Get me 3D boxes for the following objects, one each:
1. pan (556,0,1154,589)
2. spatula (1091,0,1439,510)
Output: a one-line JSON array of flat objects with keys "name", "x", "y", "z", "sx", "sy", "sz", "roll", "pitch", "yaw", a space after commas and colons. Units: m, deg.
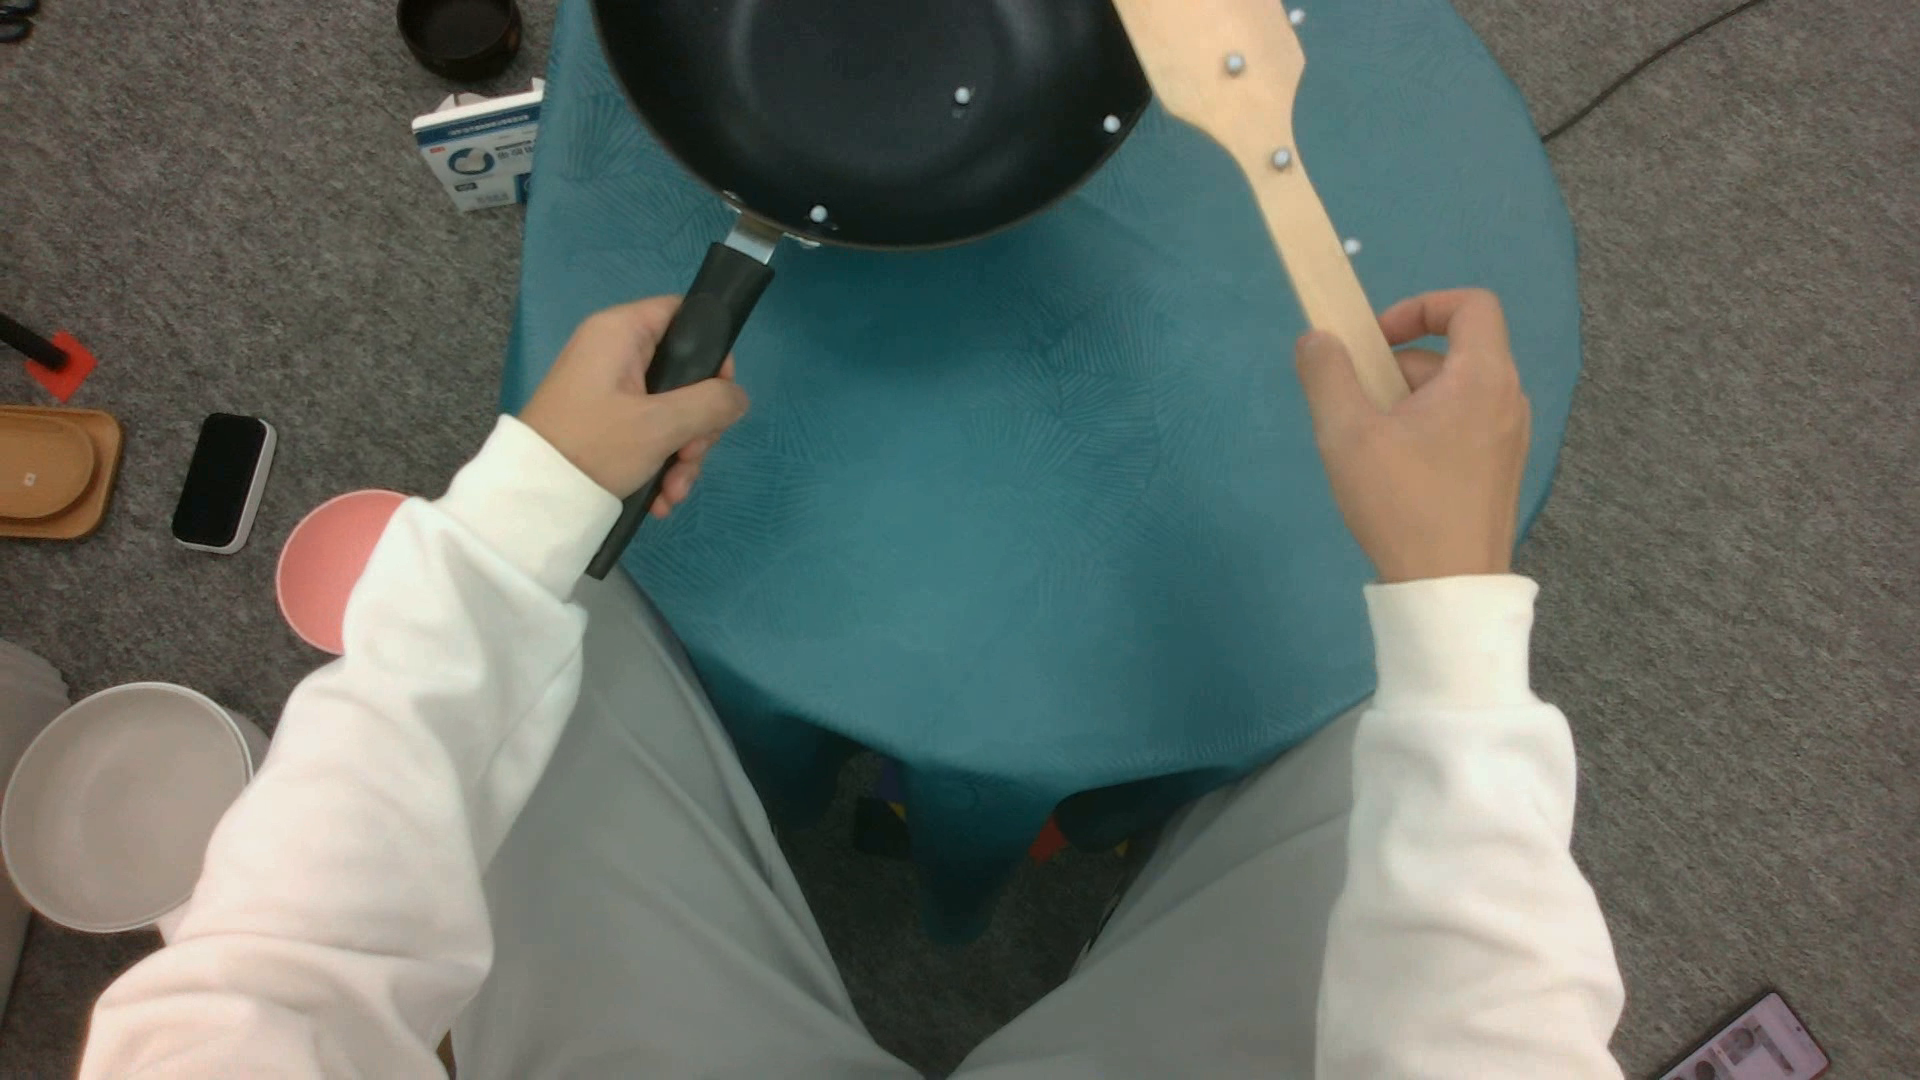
[{"name": "pan", "x": -0.080, "y": -0.182, "z": 0.714, "sx": 0.288, "sy": 0.087, "sz": 0.464, "roll": 24, "pitch": 81, "yaw": 1}, {"name": "spatula", "x": 0.144, "y": -0.147, "z": 0.625, "sx": 0.072, "sy": 0.010, "sz": 0.293, "roll": -21, "pitch": 78, "yaw": -7}]
